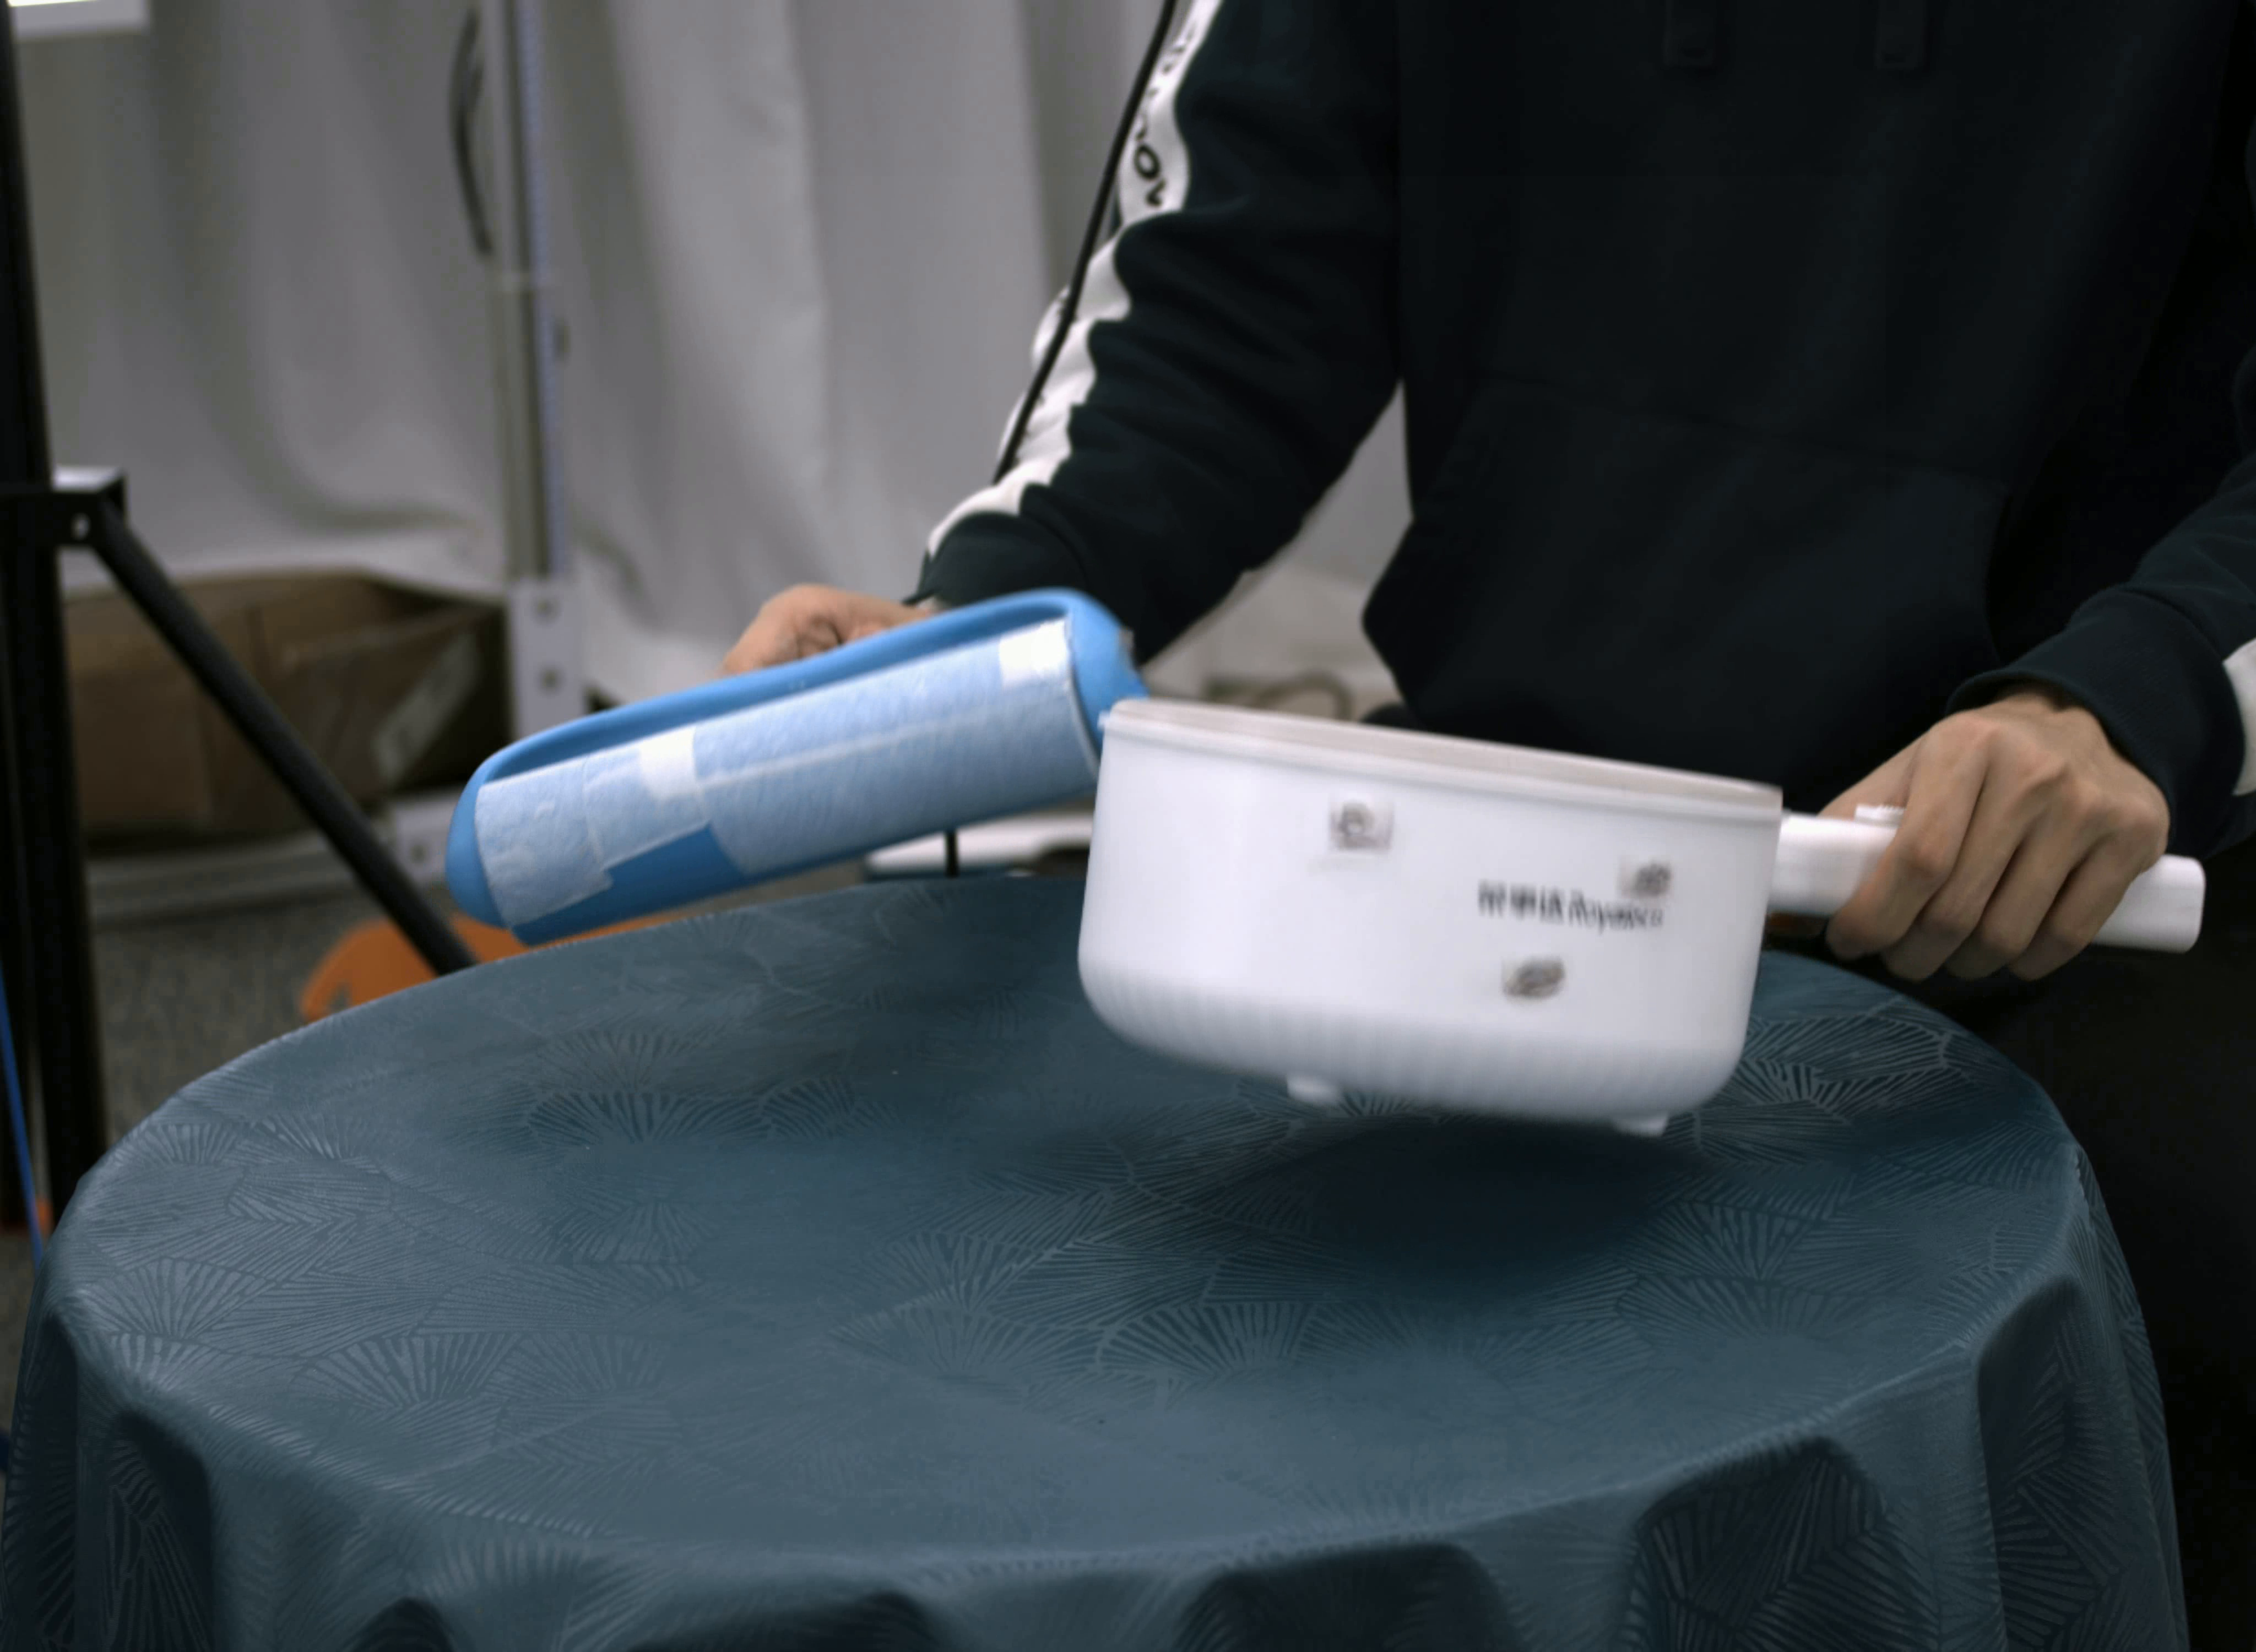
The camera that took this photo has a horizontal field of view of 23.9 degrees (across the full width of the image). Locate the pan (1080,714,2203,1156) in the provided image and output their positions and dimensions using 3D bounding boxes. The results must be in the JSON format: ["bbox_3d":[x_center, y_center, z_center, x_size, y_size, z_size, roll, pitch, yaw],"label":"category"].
[{"bbox_3d":[0.154,0.040,1.550,0.347,0.102,0.204,7,3,-23],"label":"pan"}]

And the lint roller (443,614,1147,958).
[{"bbox_3d":[-0.099,-0.018,1.709,0.229,0.068,0.179,-16,7,9],"label":"lint roller"}]
